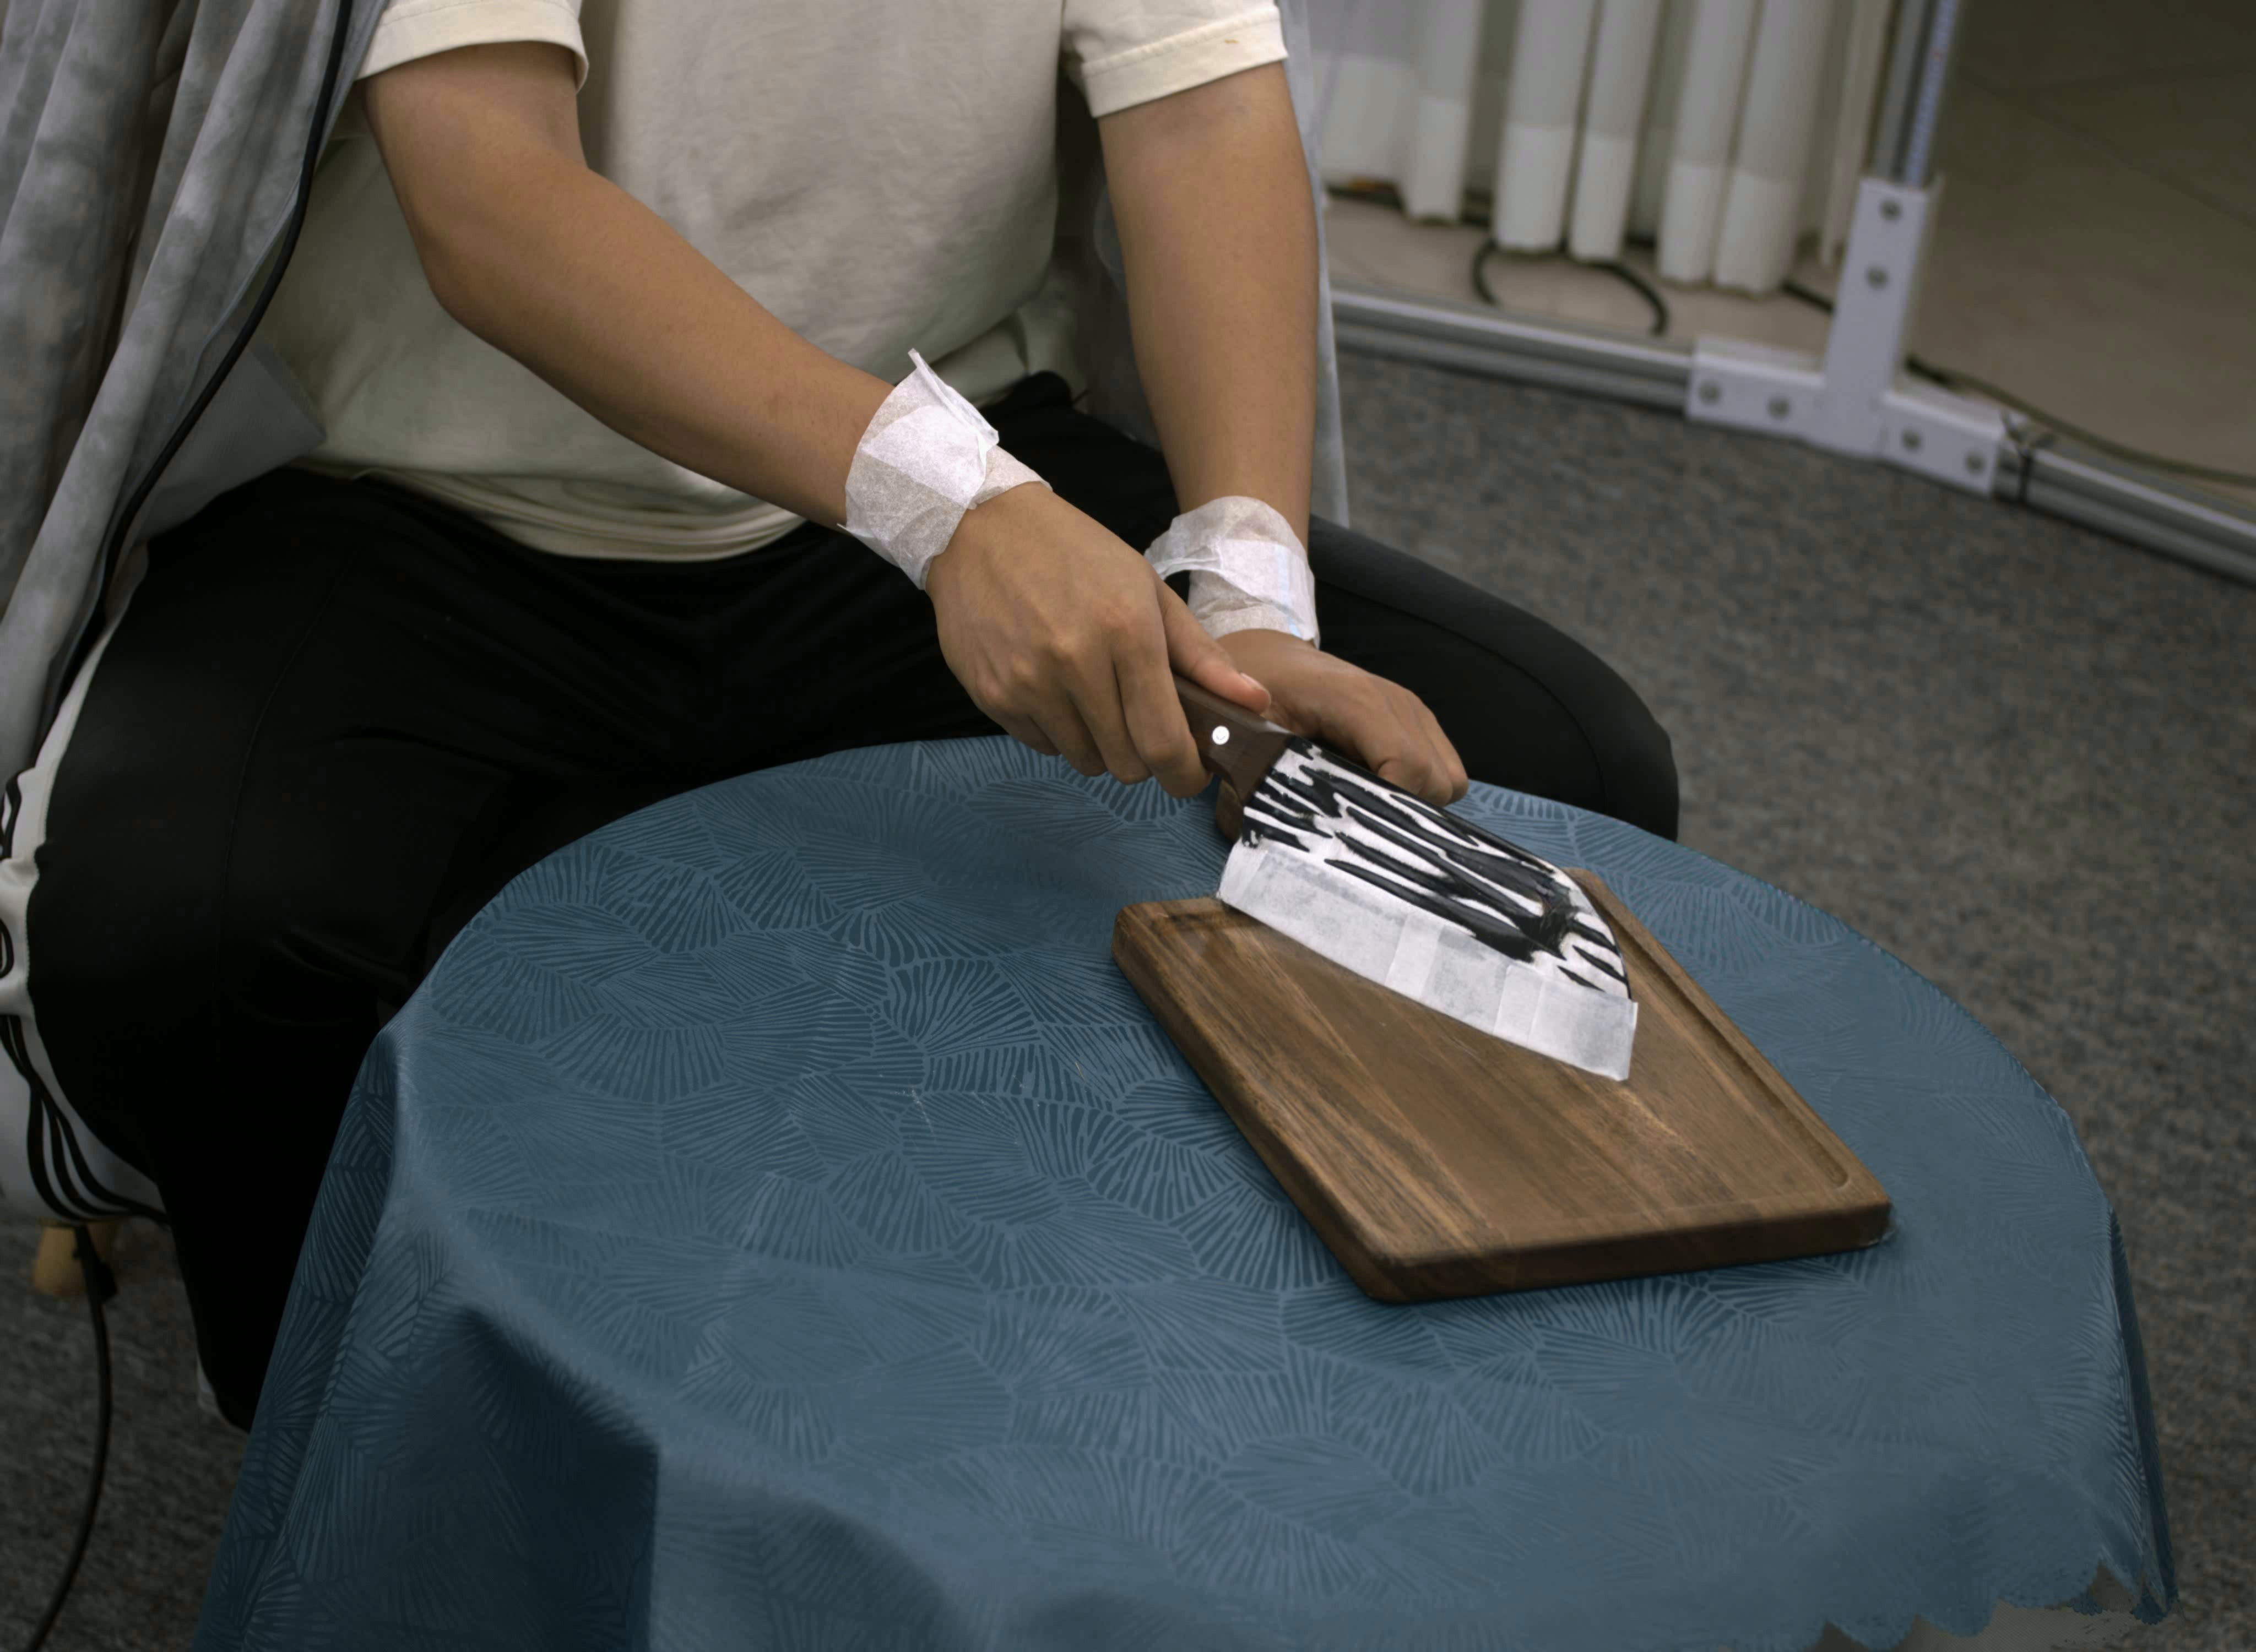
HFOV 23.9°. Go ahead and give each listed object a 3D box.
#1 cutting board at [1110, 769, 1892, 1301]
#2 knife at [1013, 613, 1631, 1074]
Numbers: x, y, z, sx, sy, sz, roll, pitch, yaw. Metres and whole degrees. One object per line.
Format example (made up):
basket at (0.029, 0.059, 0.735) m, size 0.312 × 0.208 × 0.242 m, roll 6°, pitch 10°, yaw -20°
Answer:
cutting board at (0.110, 0.063, 1.926) m, size 0.200 × 0.023 × 0.355 m, roll -5°, pitch 28°, yaw -21°
knife at (0.066, 0.005, 1.941) m, size 0.301 × 0.068 × 0.024 m, roll 28°, pitch 4°, yaw 29°
